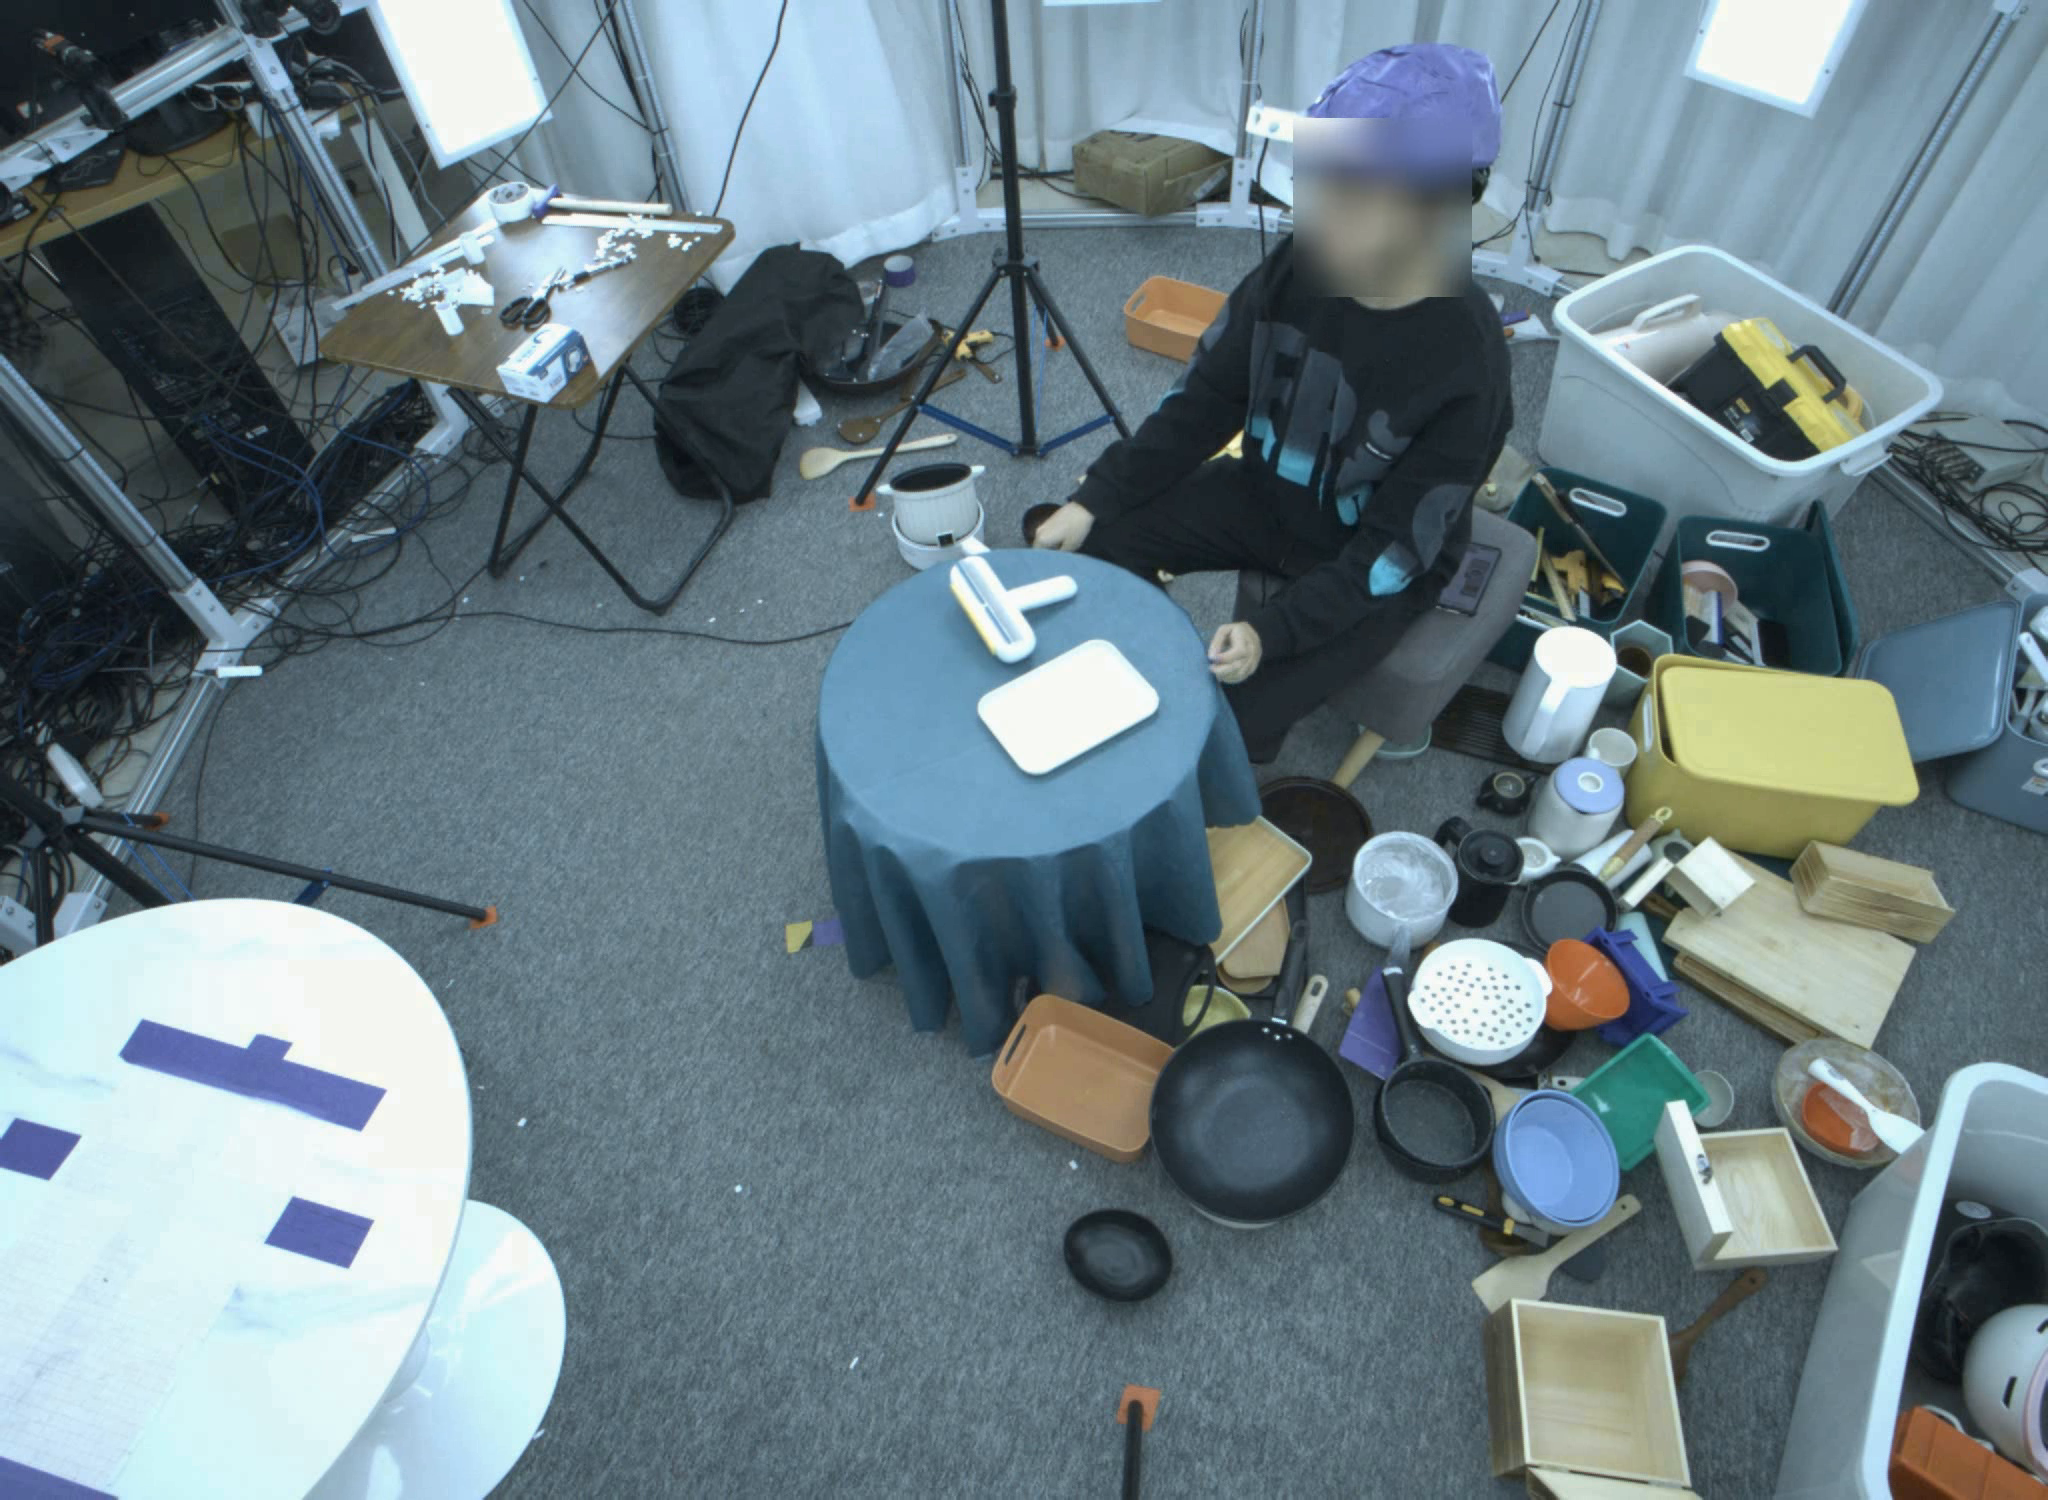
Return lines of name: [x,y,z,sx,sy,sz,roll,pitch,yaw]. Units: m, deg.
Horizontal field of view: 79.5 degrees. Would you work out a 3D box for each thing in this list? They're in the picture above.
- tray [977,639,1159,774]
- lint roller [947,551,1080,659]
tray: [0.065,-0.065,1.816,0.241,0.017,0.168,-28,58,-17]
lint roller: [-0.002,-0.240,1.912,0.194,0.075,0.189,-22,62,-15]
